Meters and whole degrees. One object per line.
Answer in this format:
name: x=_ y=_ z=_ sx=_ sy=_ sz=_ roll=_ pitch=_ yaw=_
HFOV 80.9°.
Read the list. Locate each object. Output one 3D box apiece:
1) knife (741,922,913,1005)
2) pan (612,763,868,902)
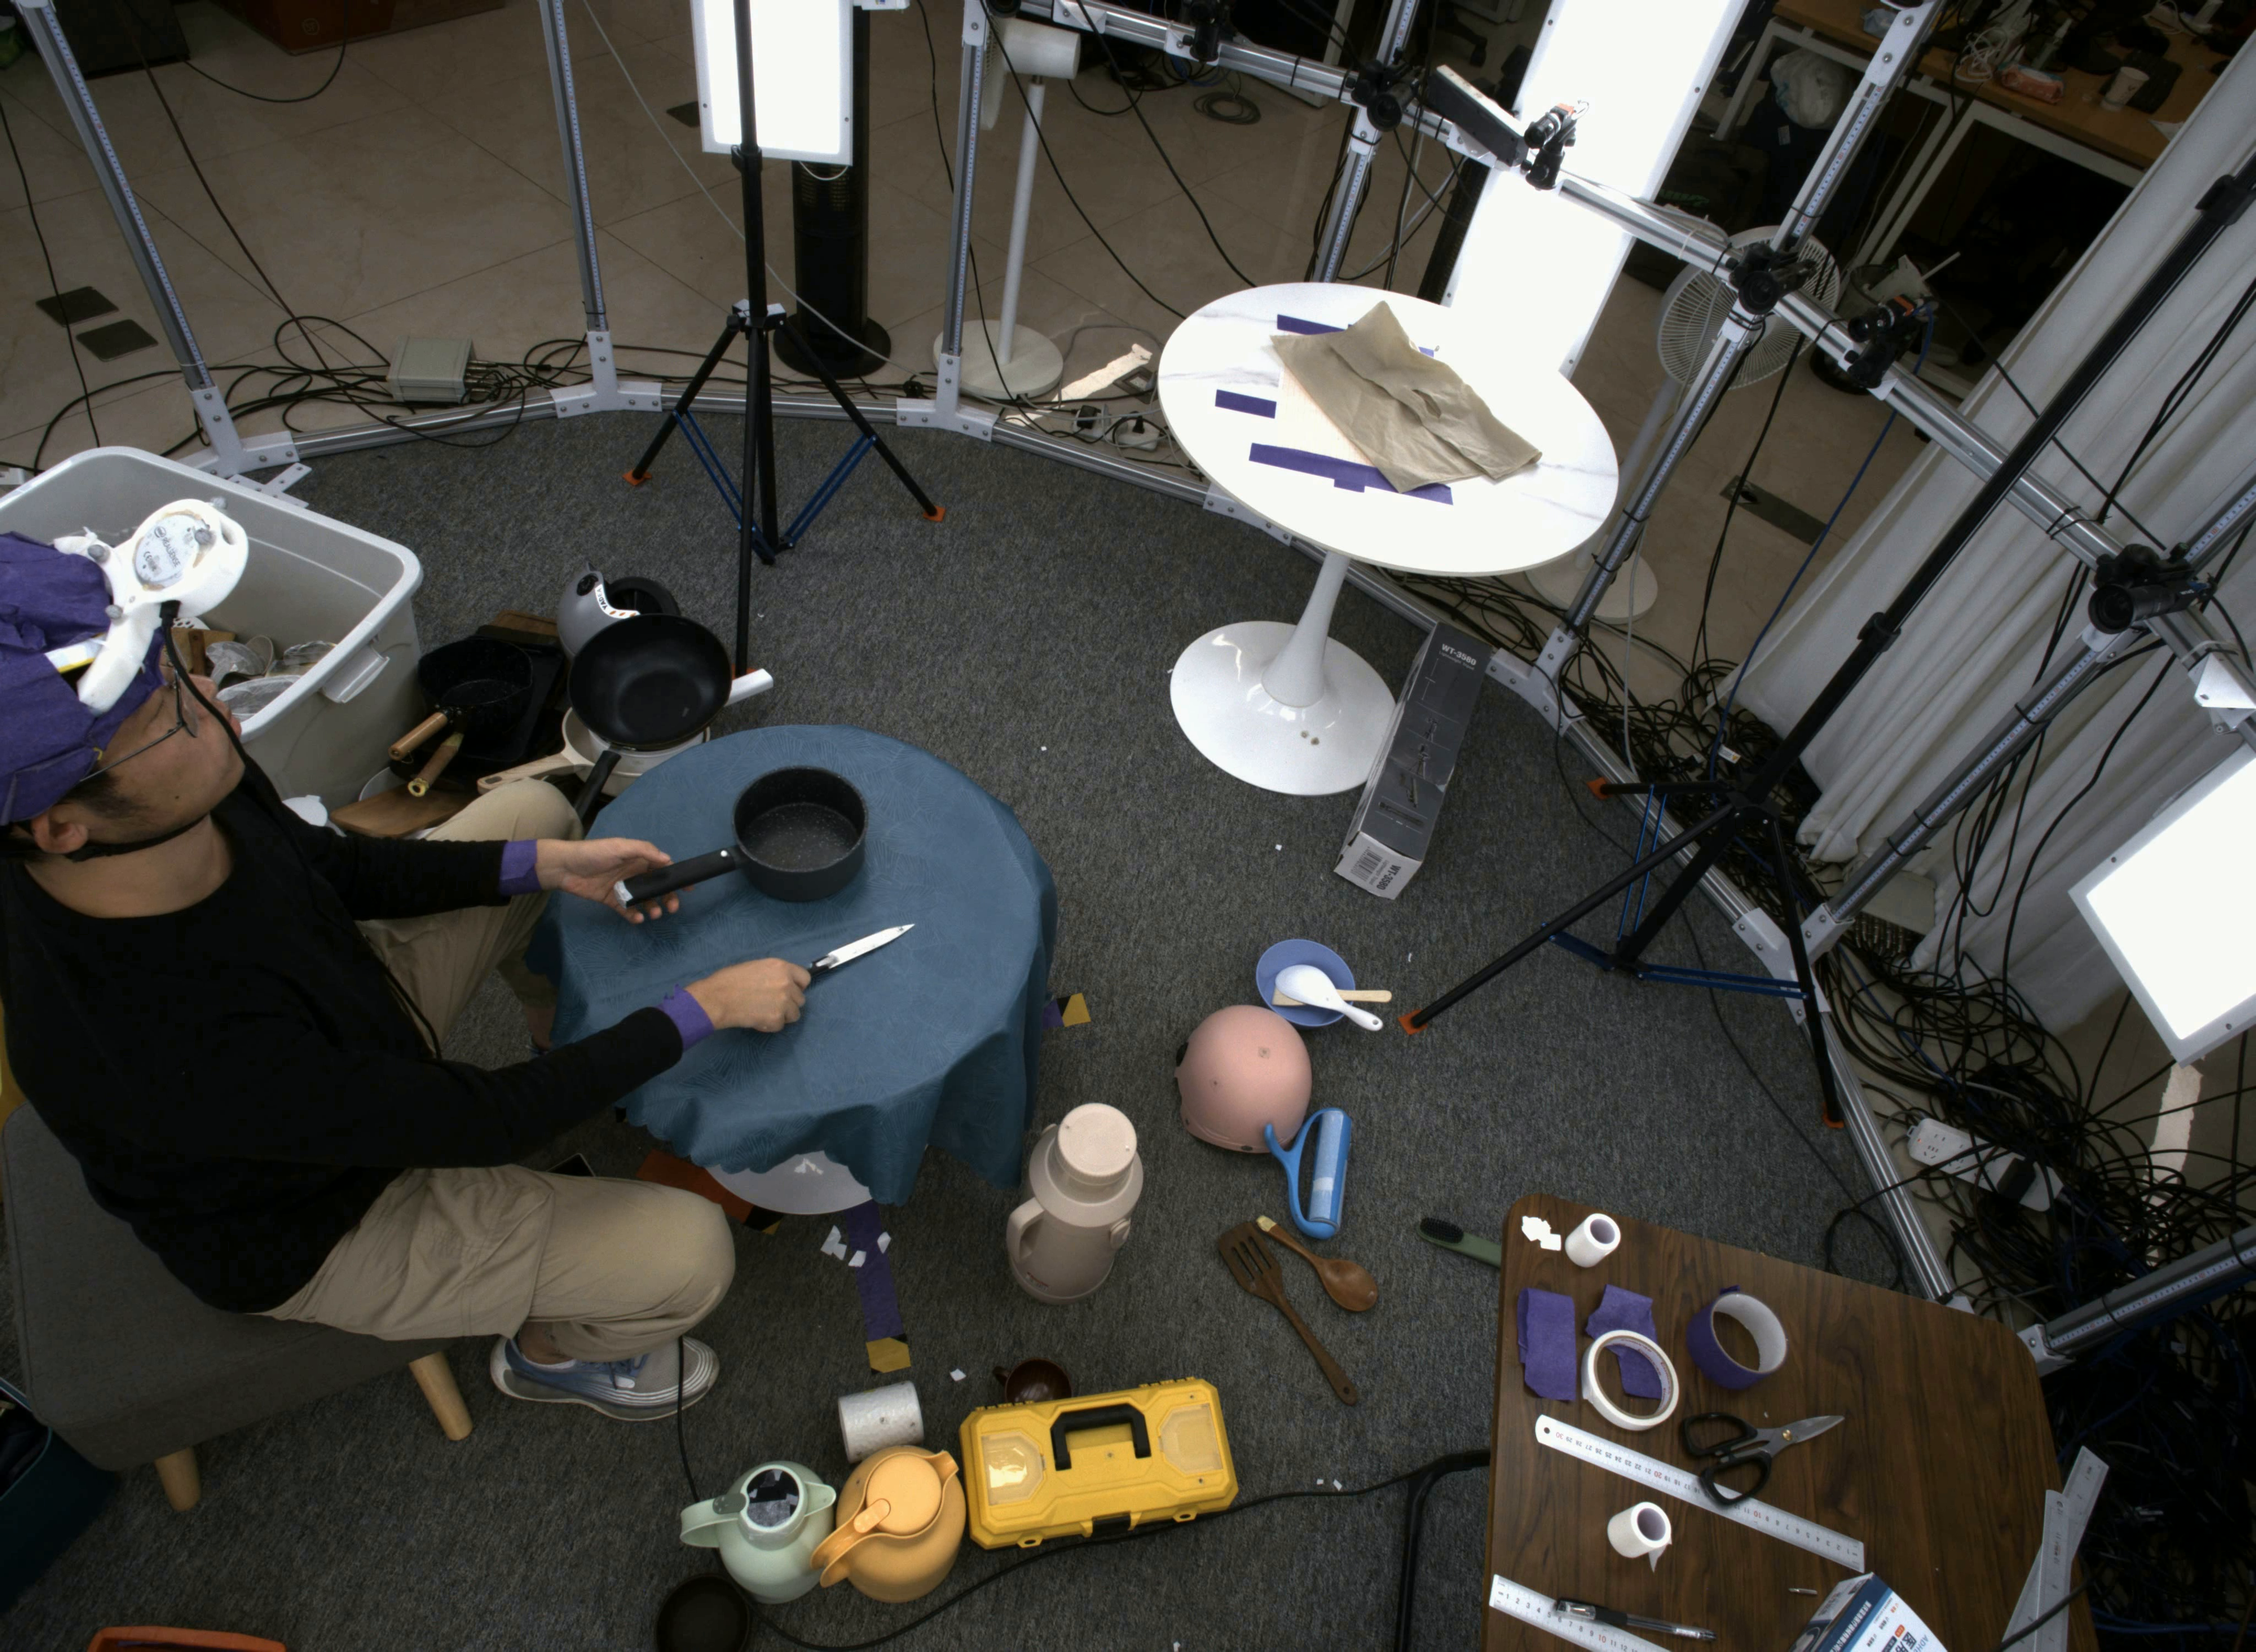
knife: x=-0.365 y=0.164 z=1.603 sx=0.239 sy=0.016 sz=0.024 roll=-24 pitch=60 yaw=-34
pan: x=-0.484 y=0.036 z=1.624 sx=0.330 sy=0.088 sz=0.168 roll=-23 pitch=62 yaw=-29
